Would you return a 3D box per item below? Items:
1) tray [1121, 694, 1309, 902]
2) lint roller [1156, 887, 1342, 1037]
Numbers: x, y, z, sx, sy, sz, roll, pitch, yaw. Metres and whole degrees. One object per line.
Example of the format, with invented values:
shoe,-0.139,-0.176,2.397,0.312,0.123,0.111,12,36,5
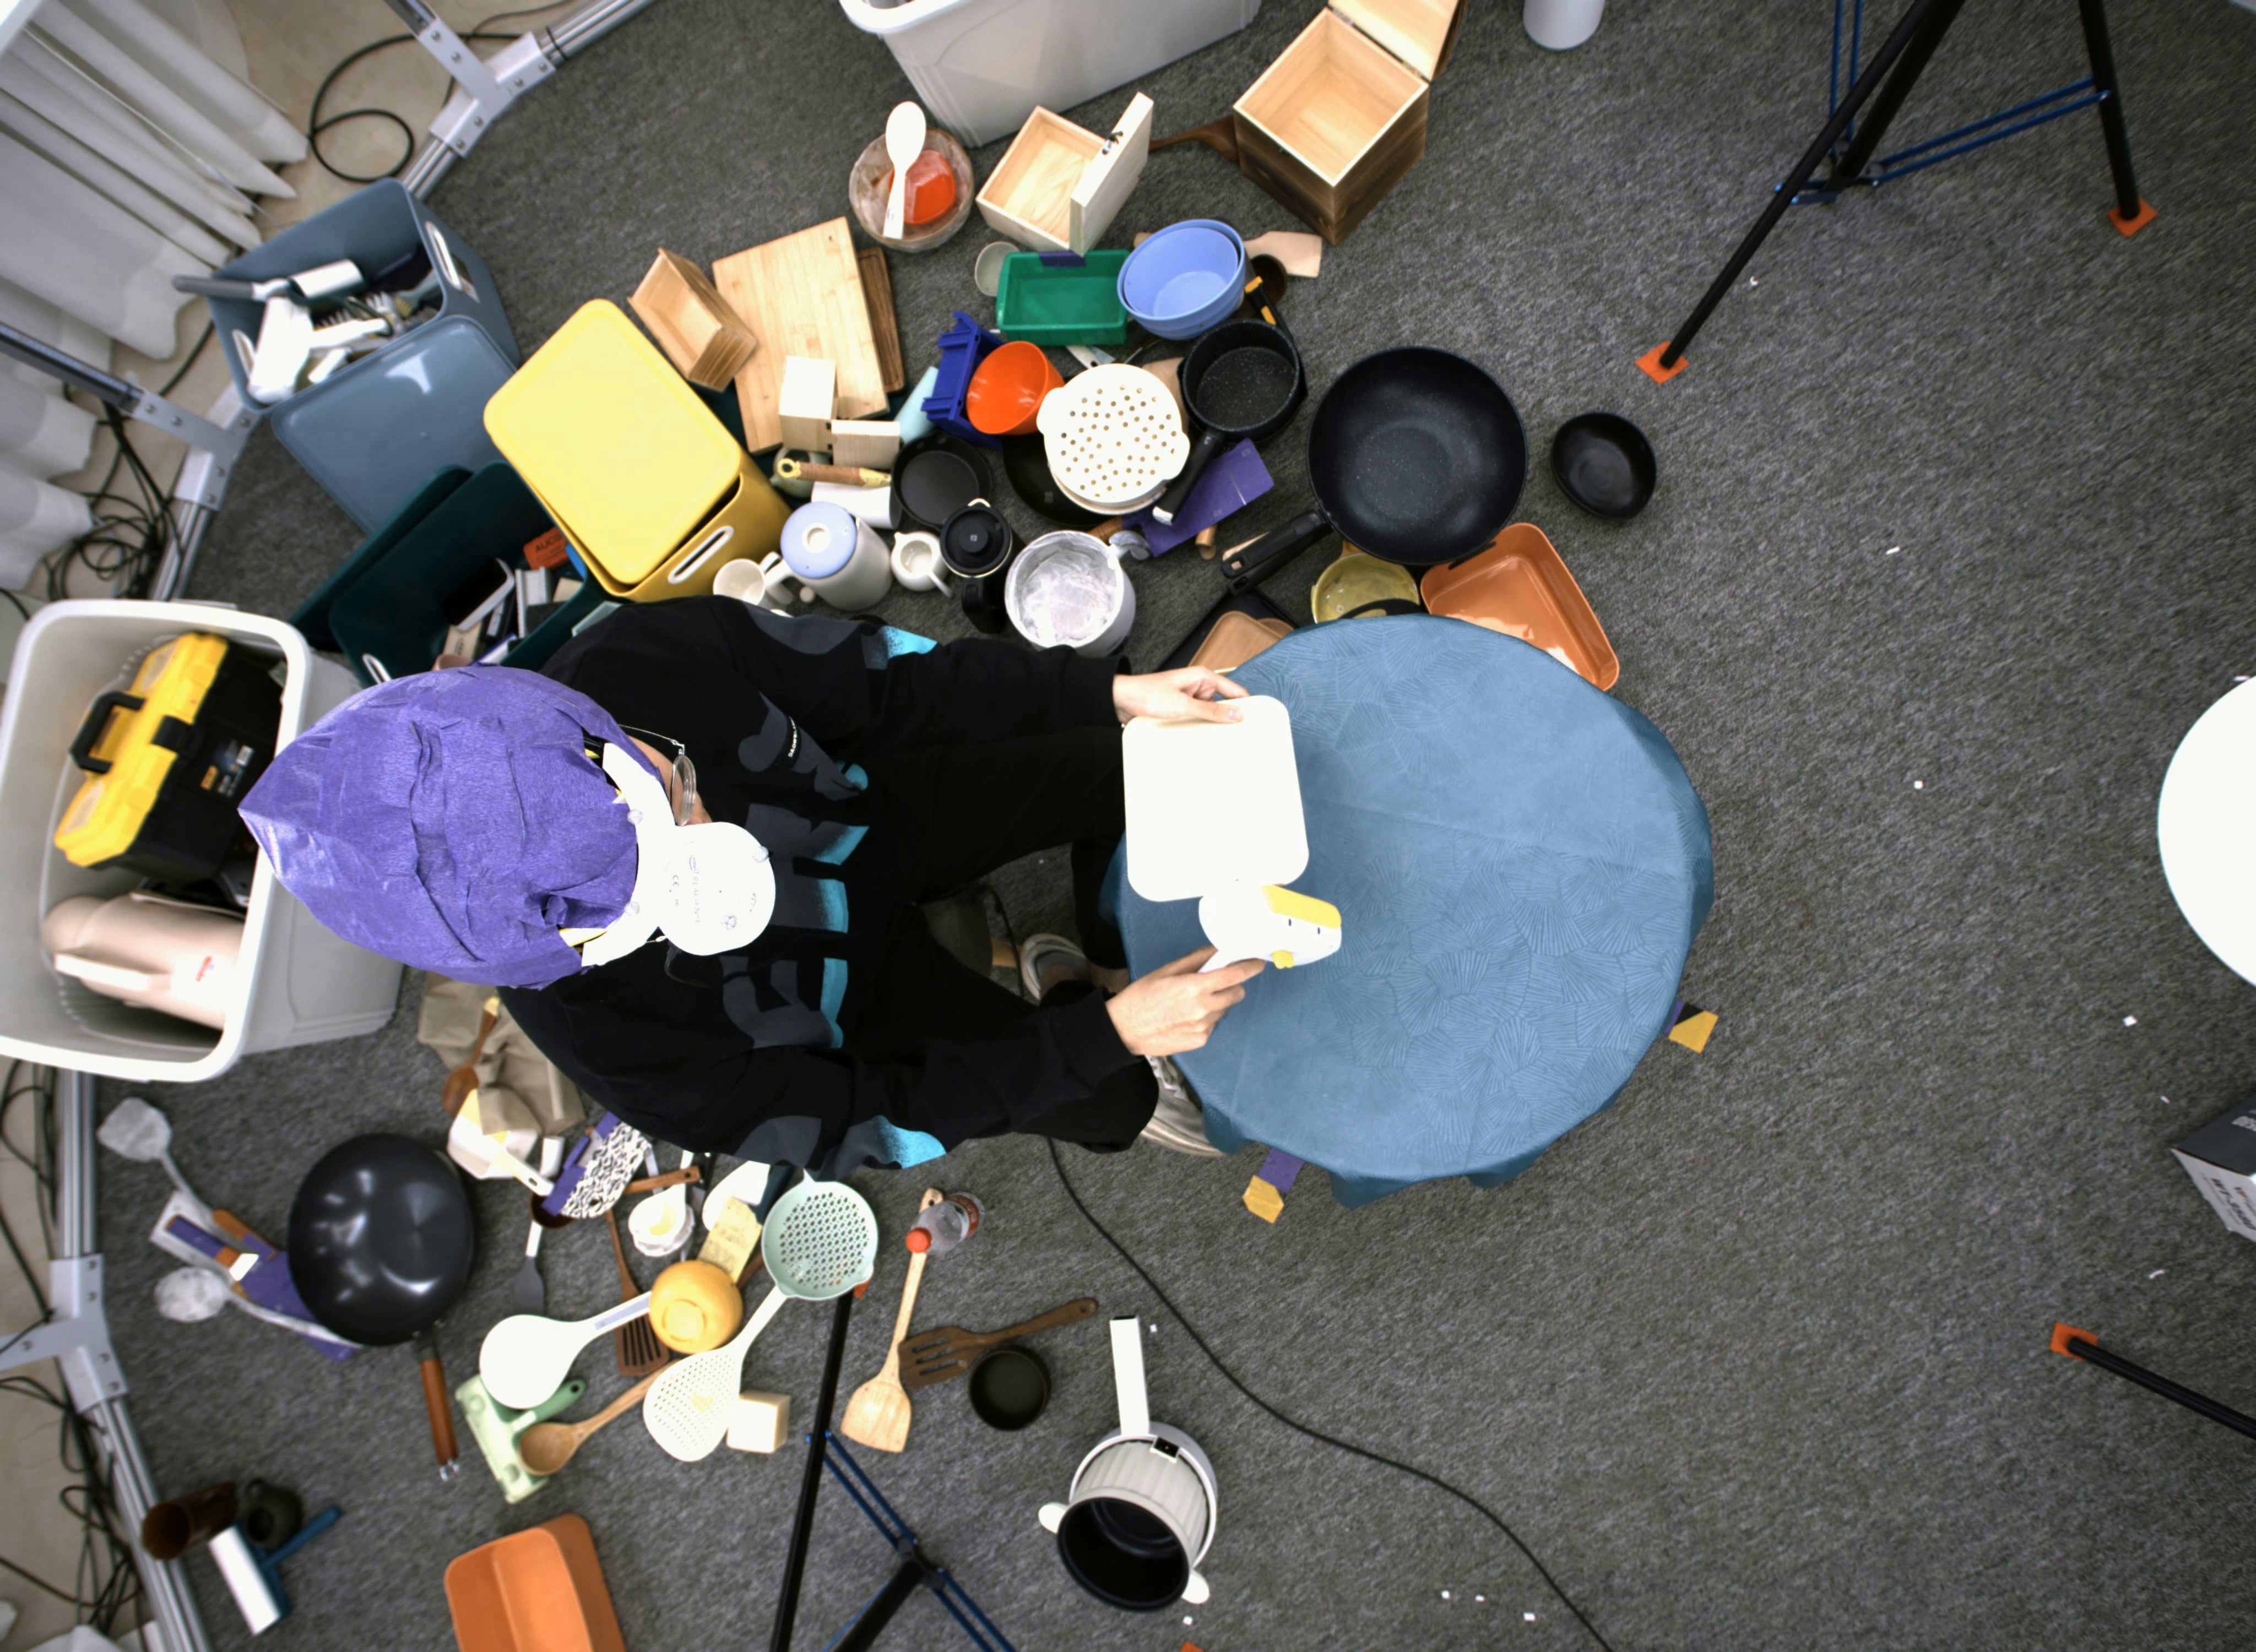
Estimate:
tray,0.081,-0.030,1.342,0.172,0.018,0.233,-8,53,8
lint roller,0.093,0.129,1.304,0.196,0.192,0.073,-37,66,28
